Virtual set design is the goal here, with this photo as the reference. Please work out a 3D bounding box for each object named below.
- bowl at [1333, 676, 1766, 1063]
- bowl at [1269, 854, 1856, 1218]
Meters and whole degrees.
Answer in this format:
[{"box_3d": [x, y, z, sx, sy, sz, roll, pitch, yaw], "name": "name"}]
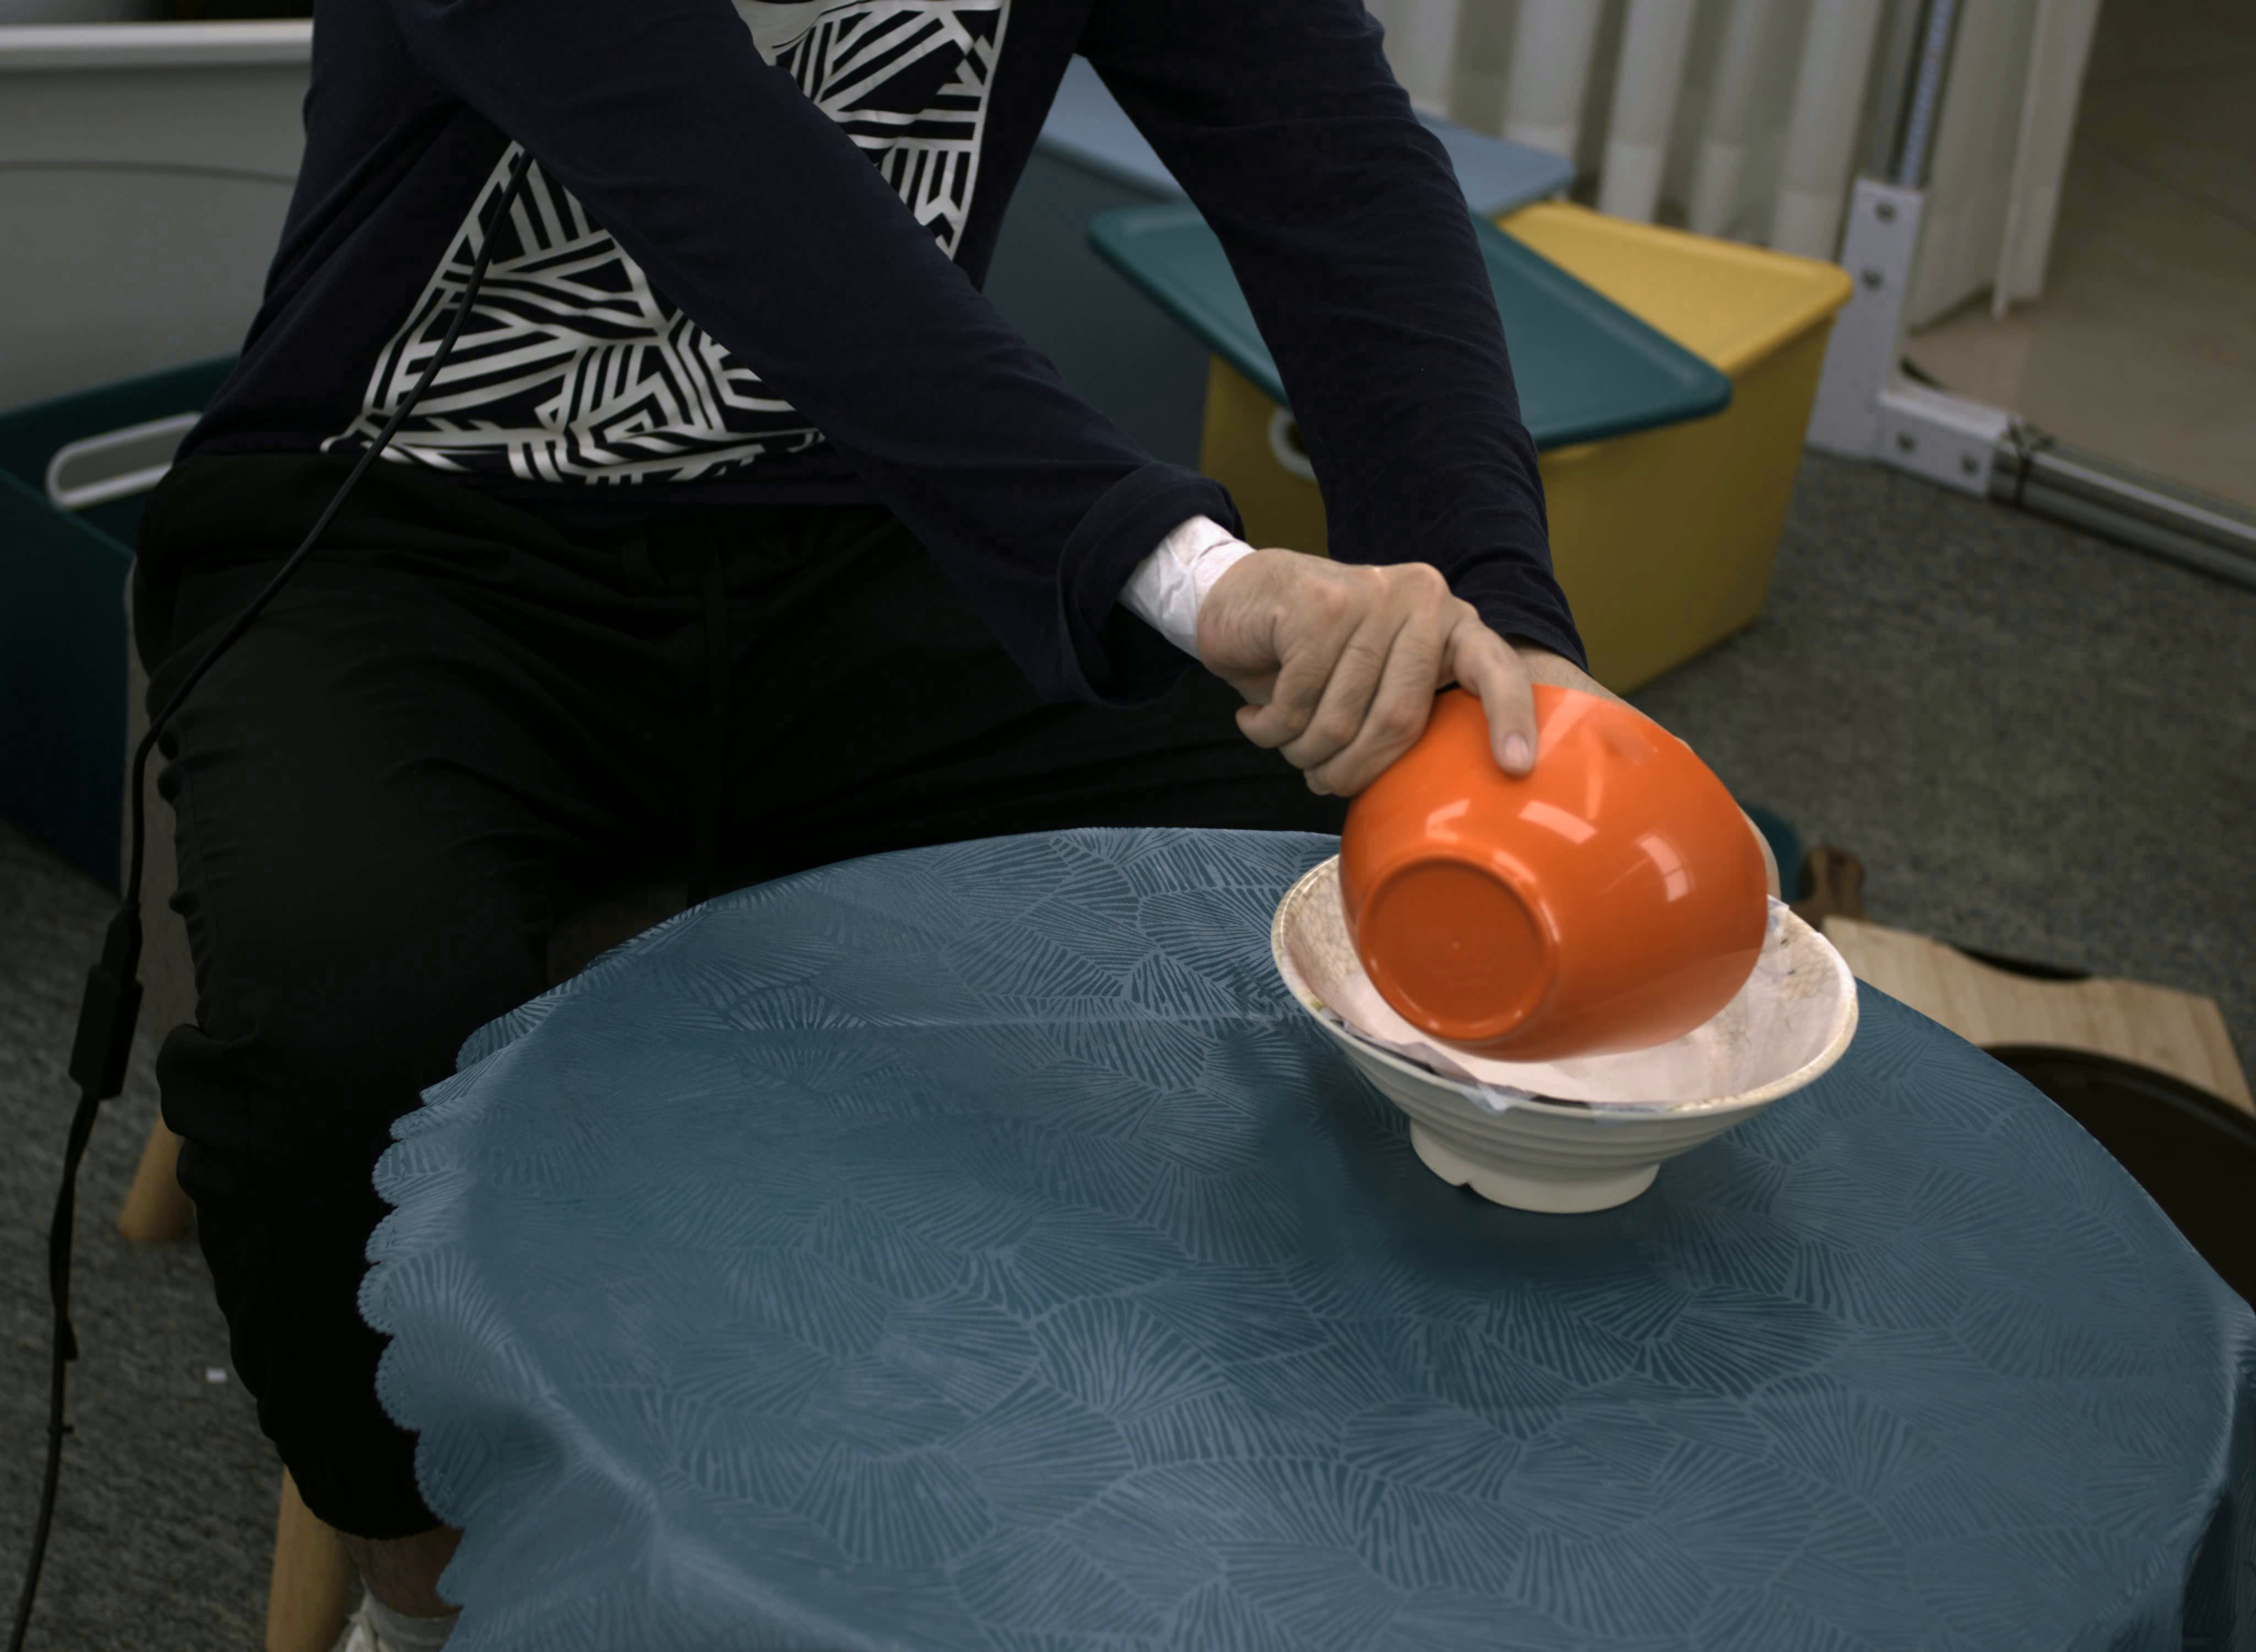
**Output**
[{"box_3d": [0.127, 0.030, 1.755, 0.148, 0.147, 0.104, 17, 28, 19], "name": "bowl"}, {"box_3d": [0.145, 0.081, 1.839, 0.203, 0.078, 0.205, 6, 25, -3], "name": "bowl"}]
